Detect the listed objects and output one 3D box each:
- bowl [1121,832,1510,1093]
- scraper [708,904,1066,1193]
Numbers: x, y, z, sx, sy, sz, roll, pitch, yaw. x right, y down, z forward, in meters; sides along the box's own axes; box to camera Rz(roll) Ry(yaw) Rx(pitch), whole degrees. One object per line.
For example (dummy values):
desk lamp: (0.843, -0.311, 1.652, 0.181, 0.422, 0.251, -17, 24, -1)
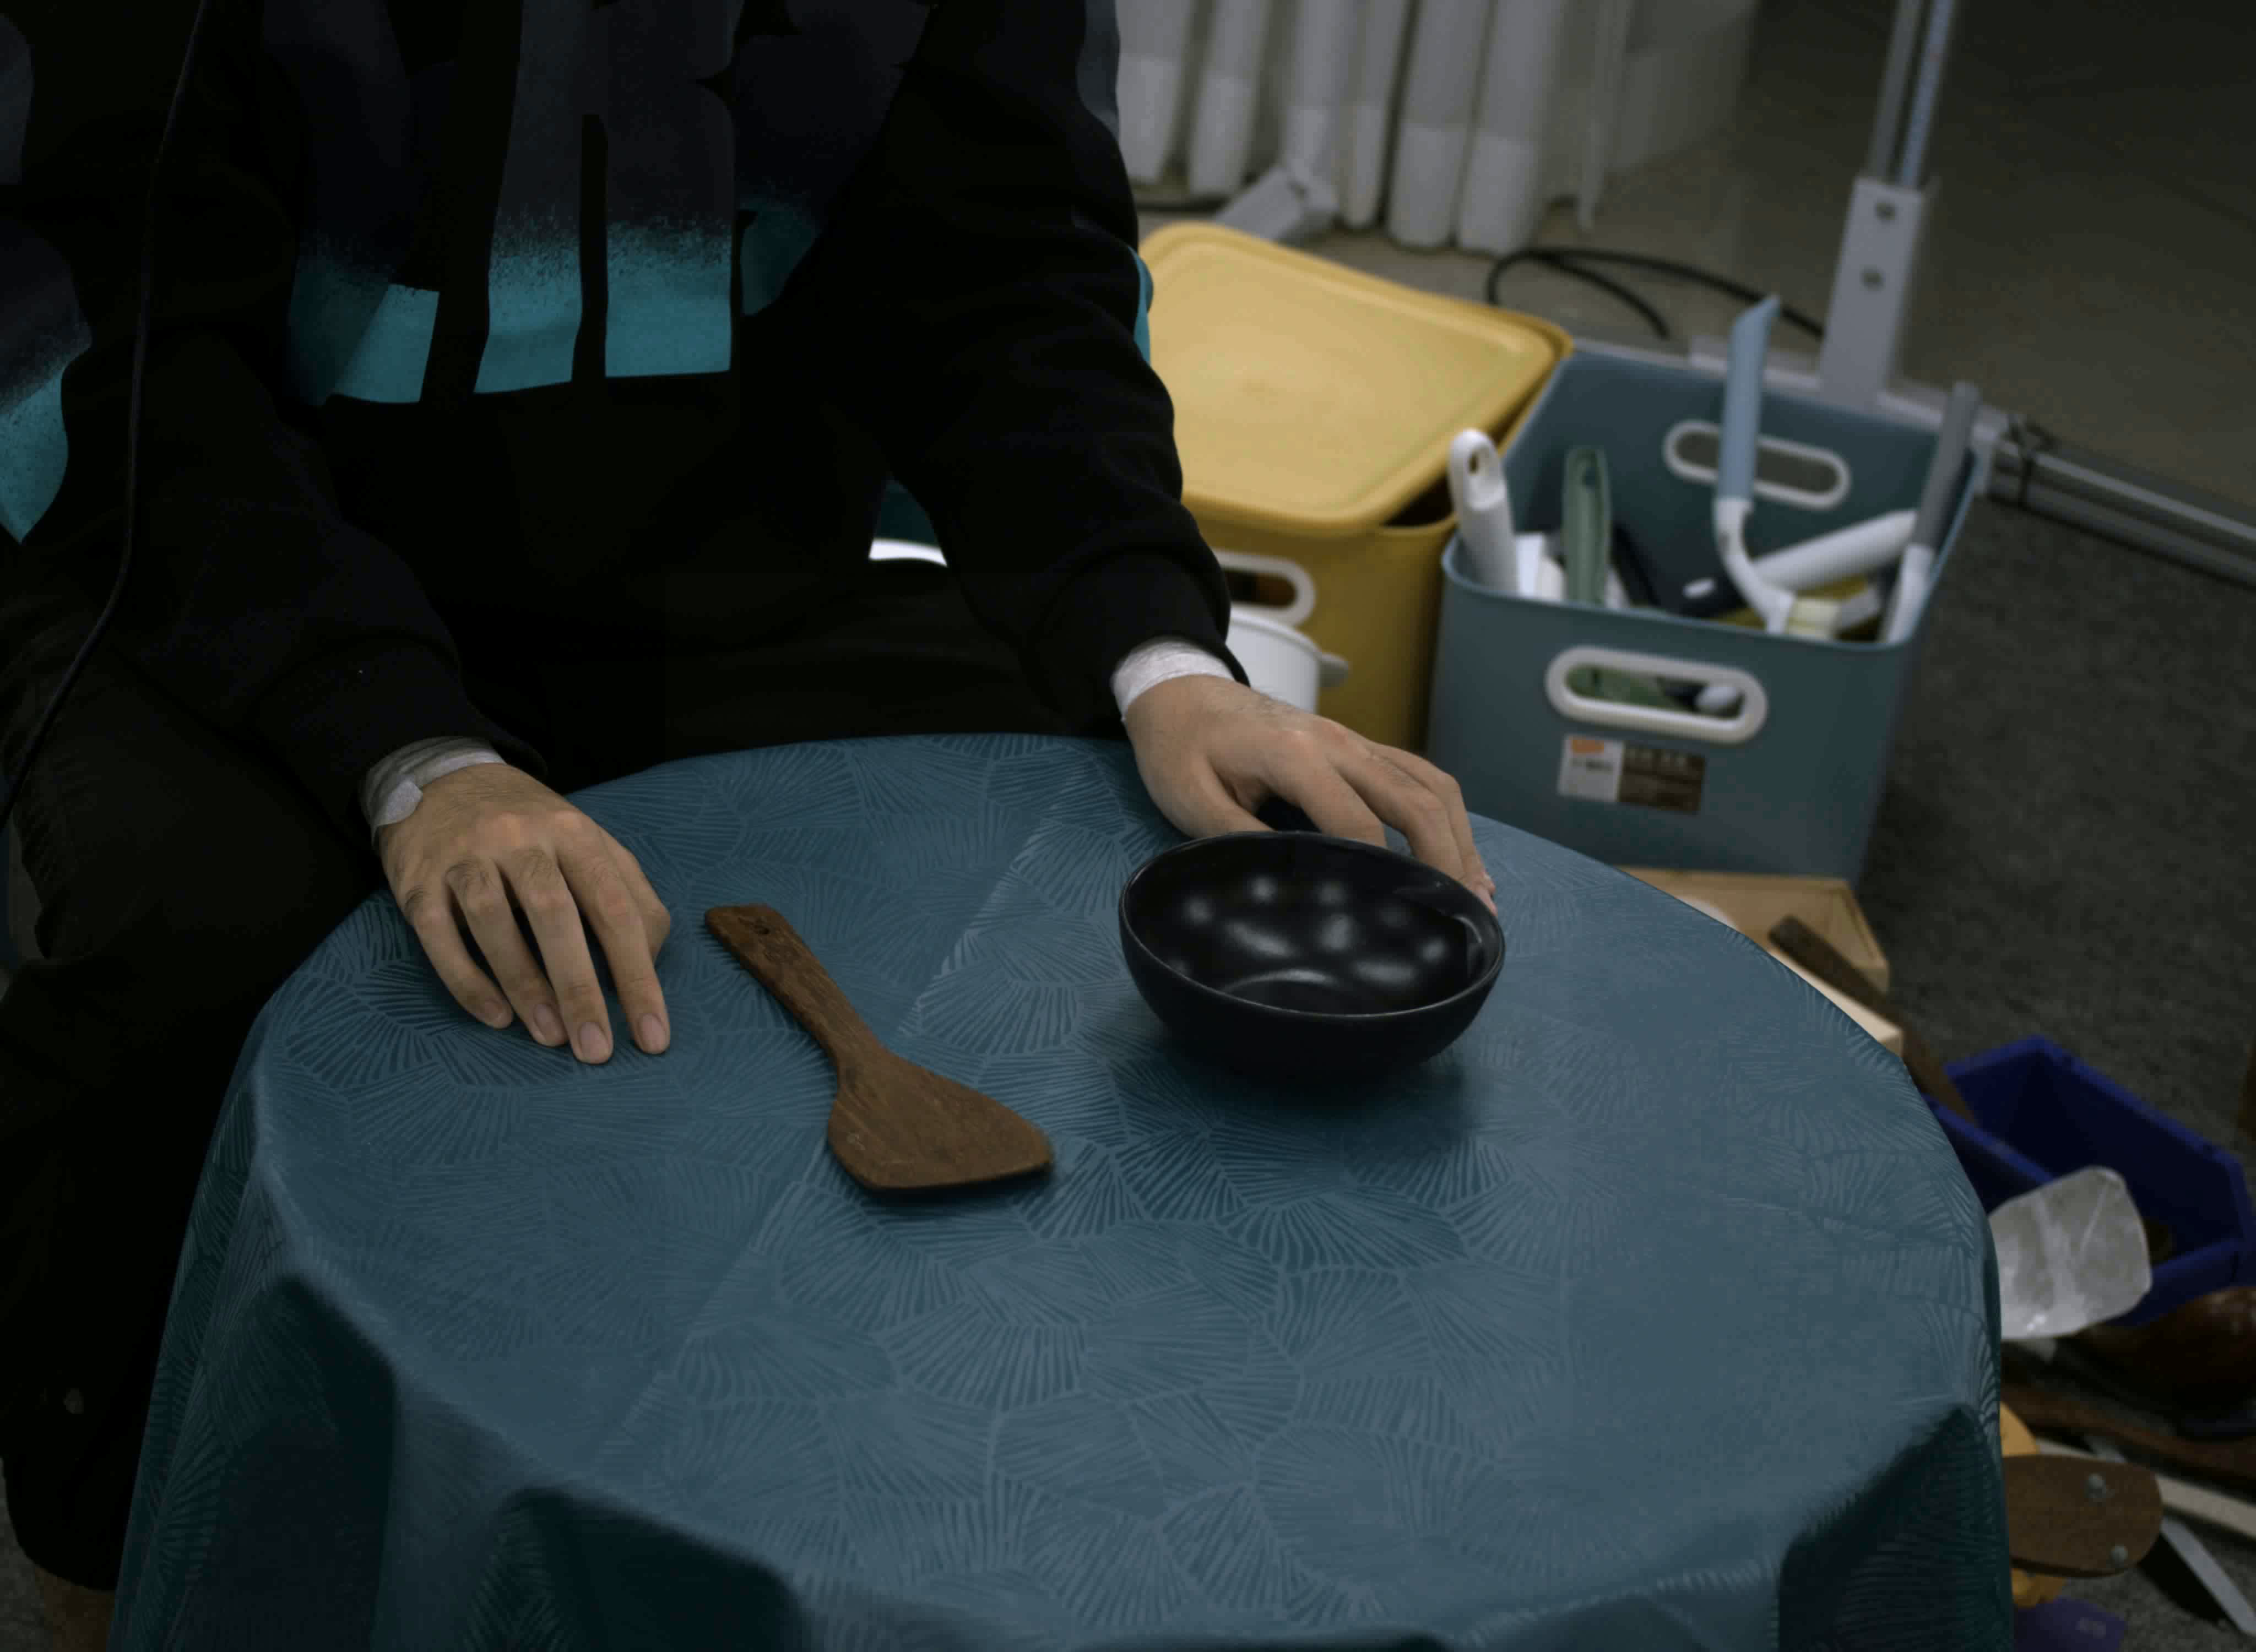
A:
bowl: (0.065, 0.056, 1.896, 0.139, 0.049, 0.141, 3, 28, -2)
scraper: (-0.096, 0.077, 1.863, 0.075, 0.011, 0.213, -7, 29, -26)
